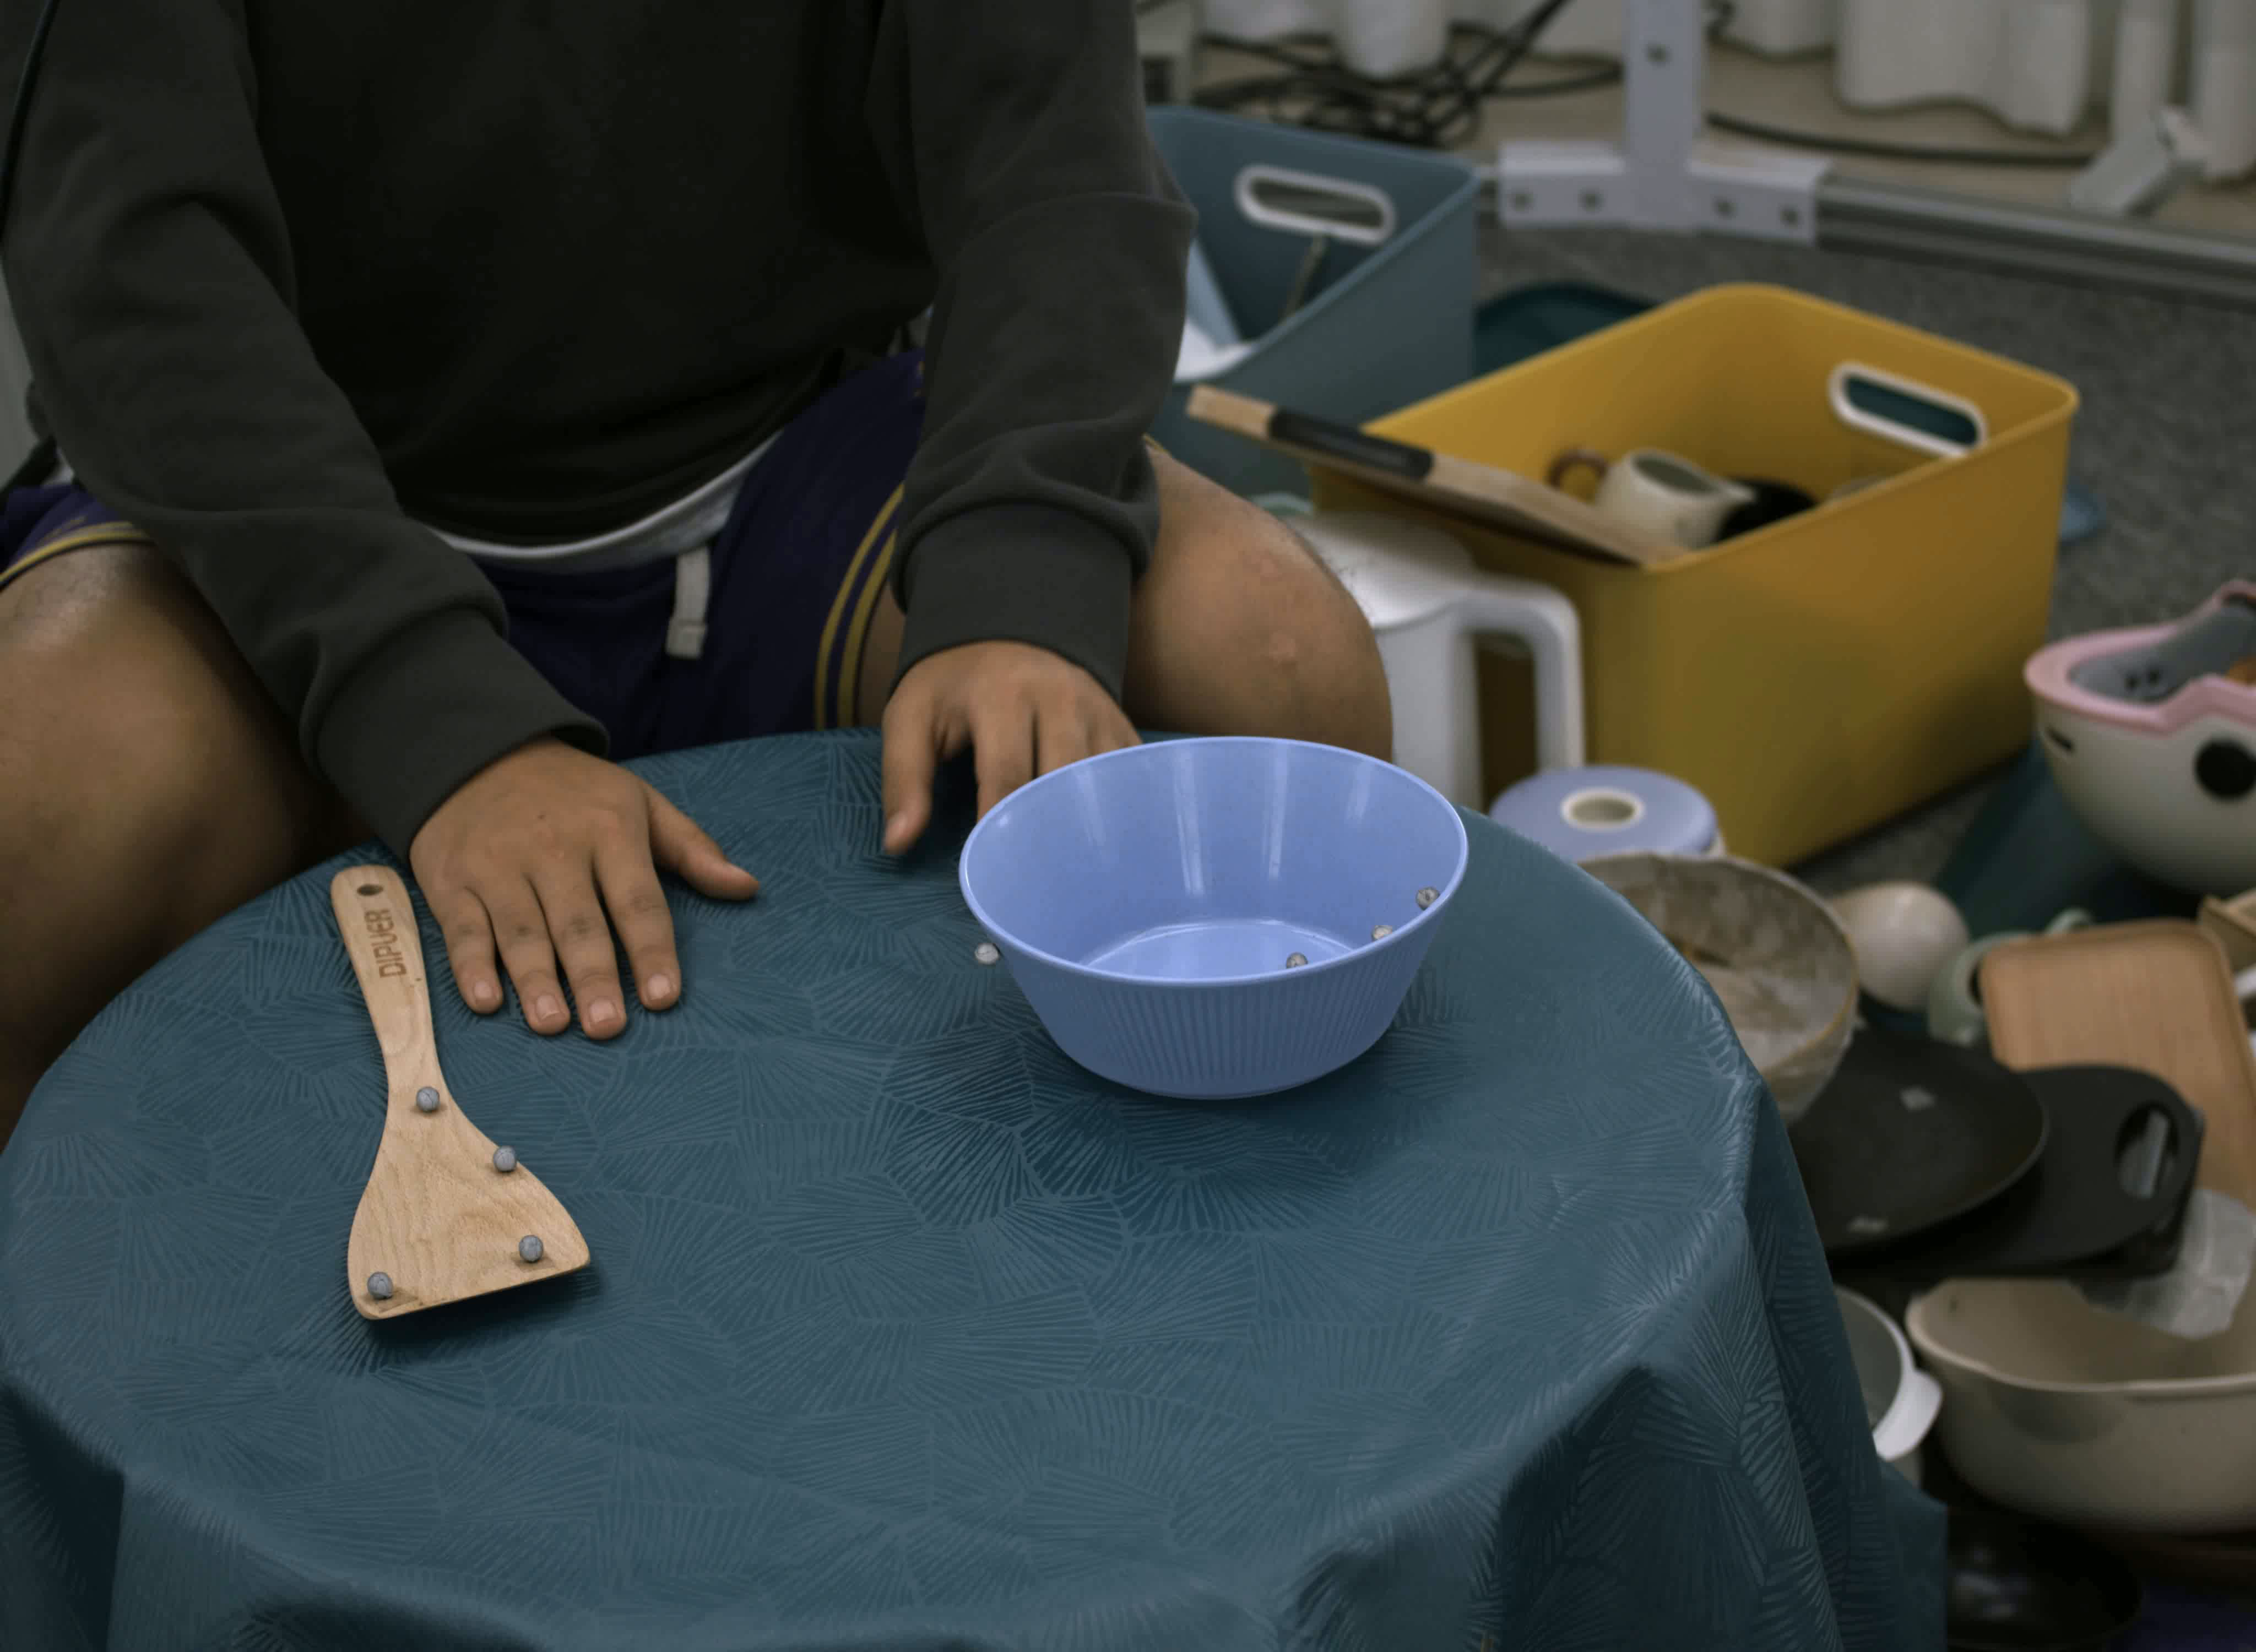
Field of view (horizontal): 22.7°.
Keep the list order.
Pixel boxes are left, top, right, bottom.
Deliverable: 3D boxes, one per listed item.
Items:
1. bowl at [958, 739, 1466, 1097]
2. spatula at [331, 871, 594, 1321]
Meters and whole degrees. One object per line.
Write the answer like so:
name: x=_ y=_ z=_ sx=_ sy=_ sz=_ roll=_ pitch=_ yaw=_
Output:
bowl: x=0.030 y=0.037 z=1.946 sx=0.175 sy=0.069 sz=0.179 roll=-2 pitch=27 yaw=2
spatula: x=-0.244 y=0.087 z=1.936 sx=0.080 sy=0.016 sz=0.331 roll=-9 pitch=28 yaw=-10
